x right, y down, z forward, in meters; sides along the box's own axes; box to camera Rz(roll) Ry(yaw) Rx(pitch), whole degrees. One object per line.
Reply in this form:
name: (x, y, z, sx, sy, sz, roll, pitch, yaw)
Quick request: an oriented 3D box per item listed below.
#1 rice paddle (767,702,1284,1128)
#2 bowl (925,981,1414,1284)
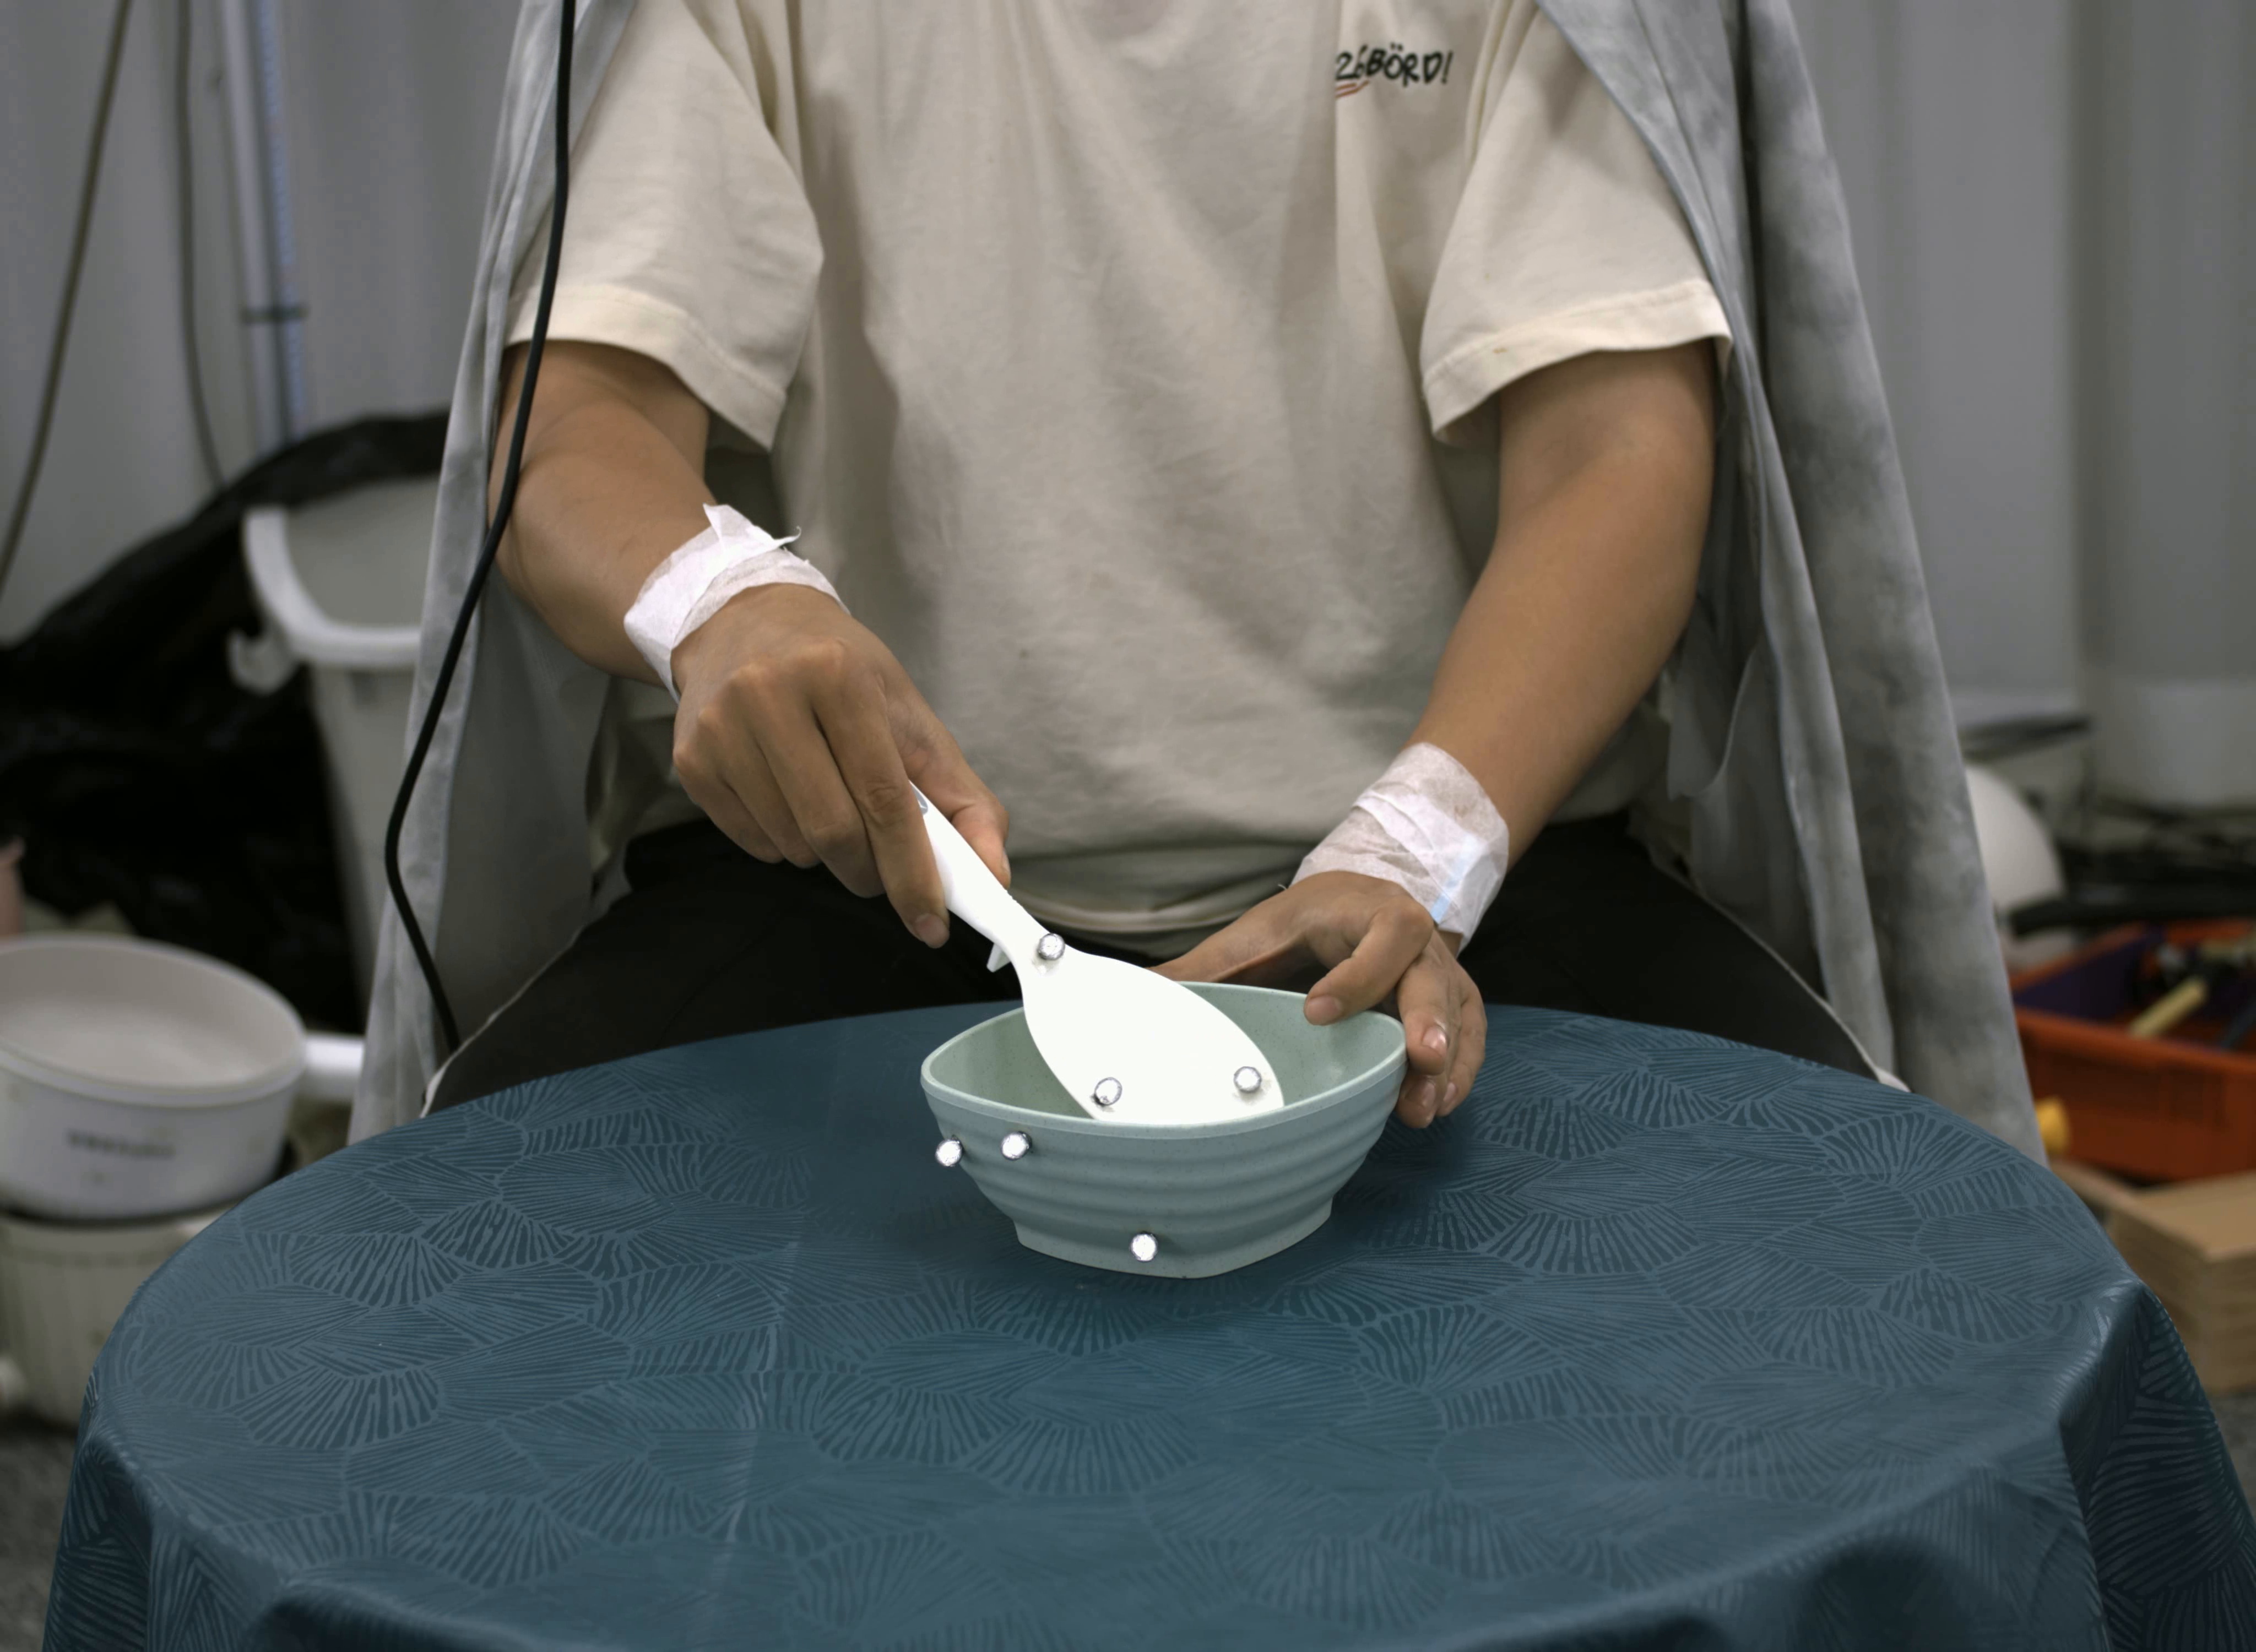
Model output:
rice paddle: (-0.031, 0.036, 1.704, 0.207, 0.029, 0.069, 42, 46, 18)
bowl: (0.015, 0.097, 1.676, 0.151, 0.058, 0.152, -4, 16, 1)
